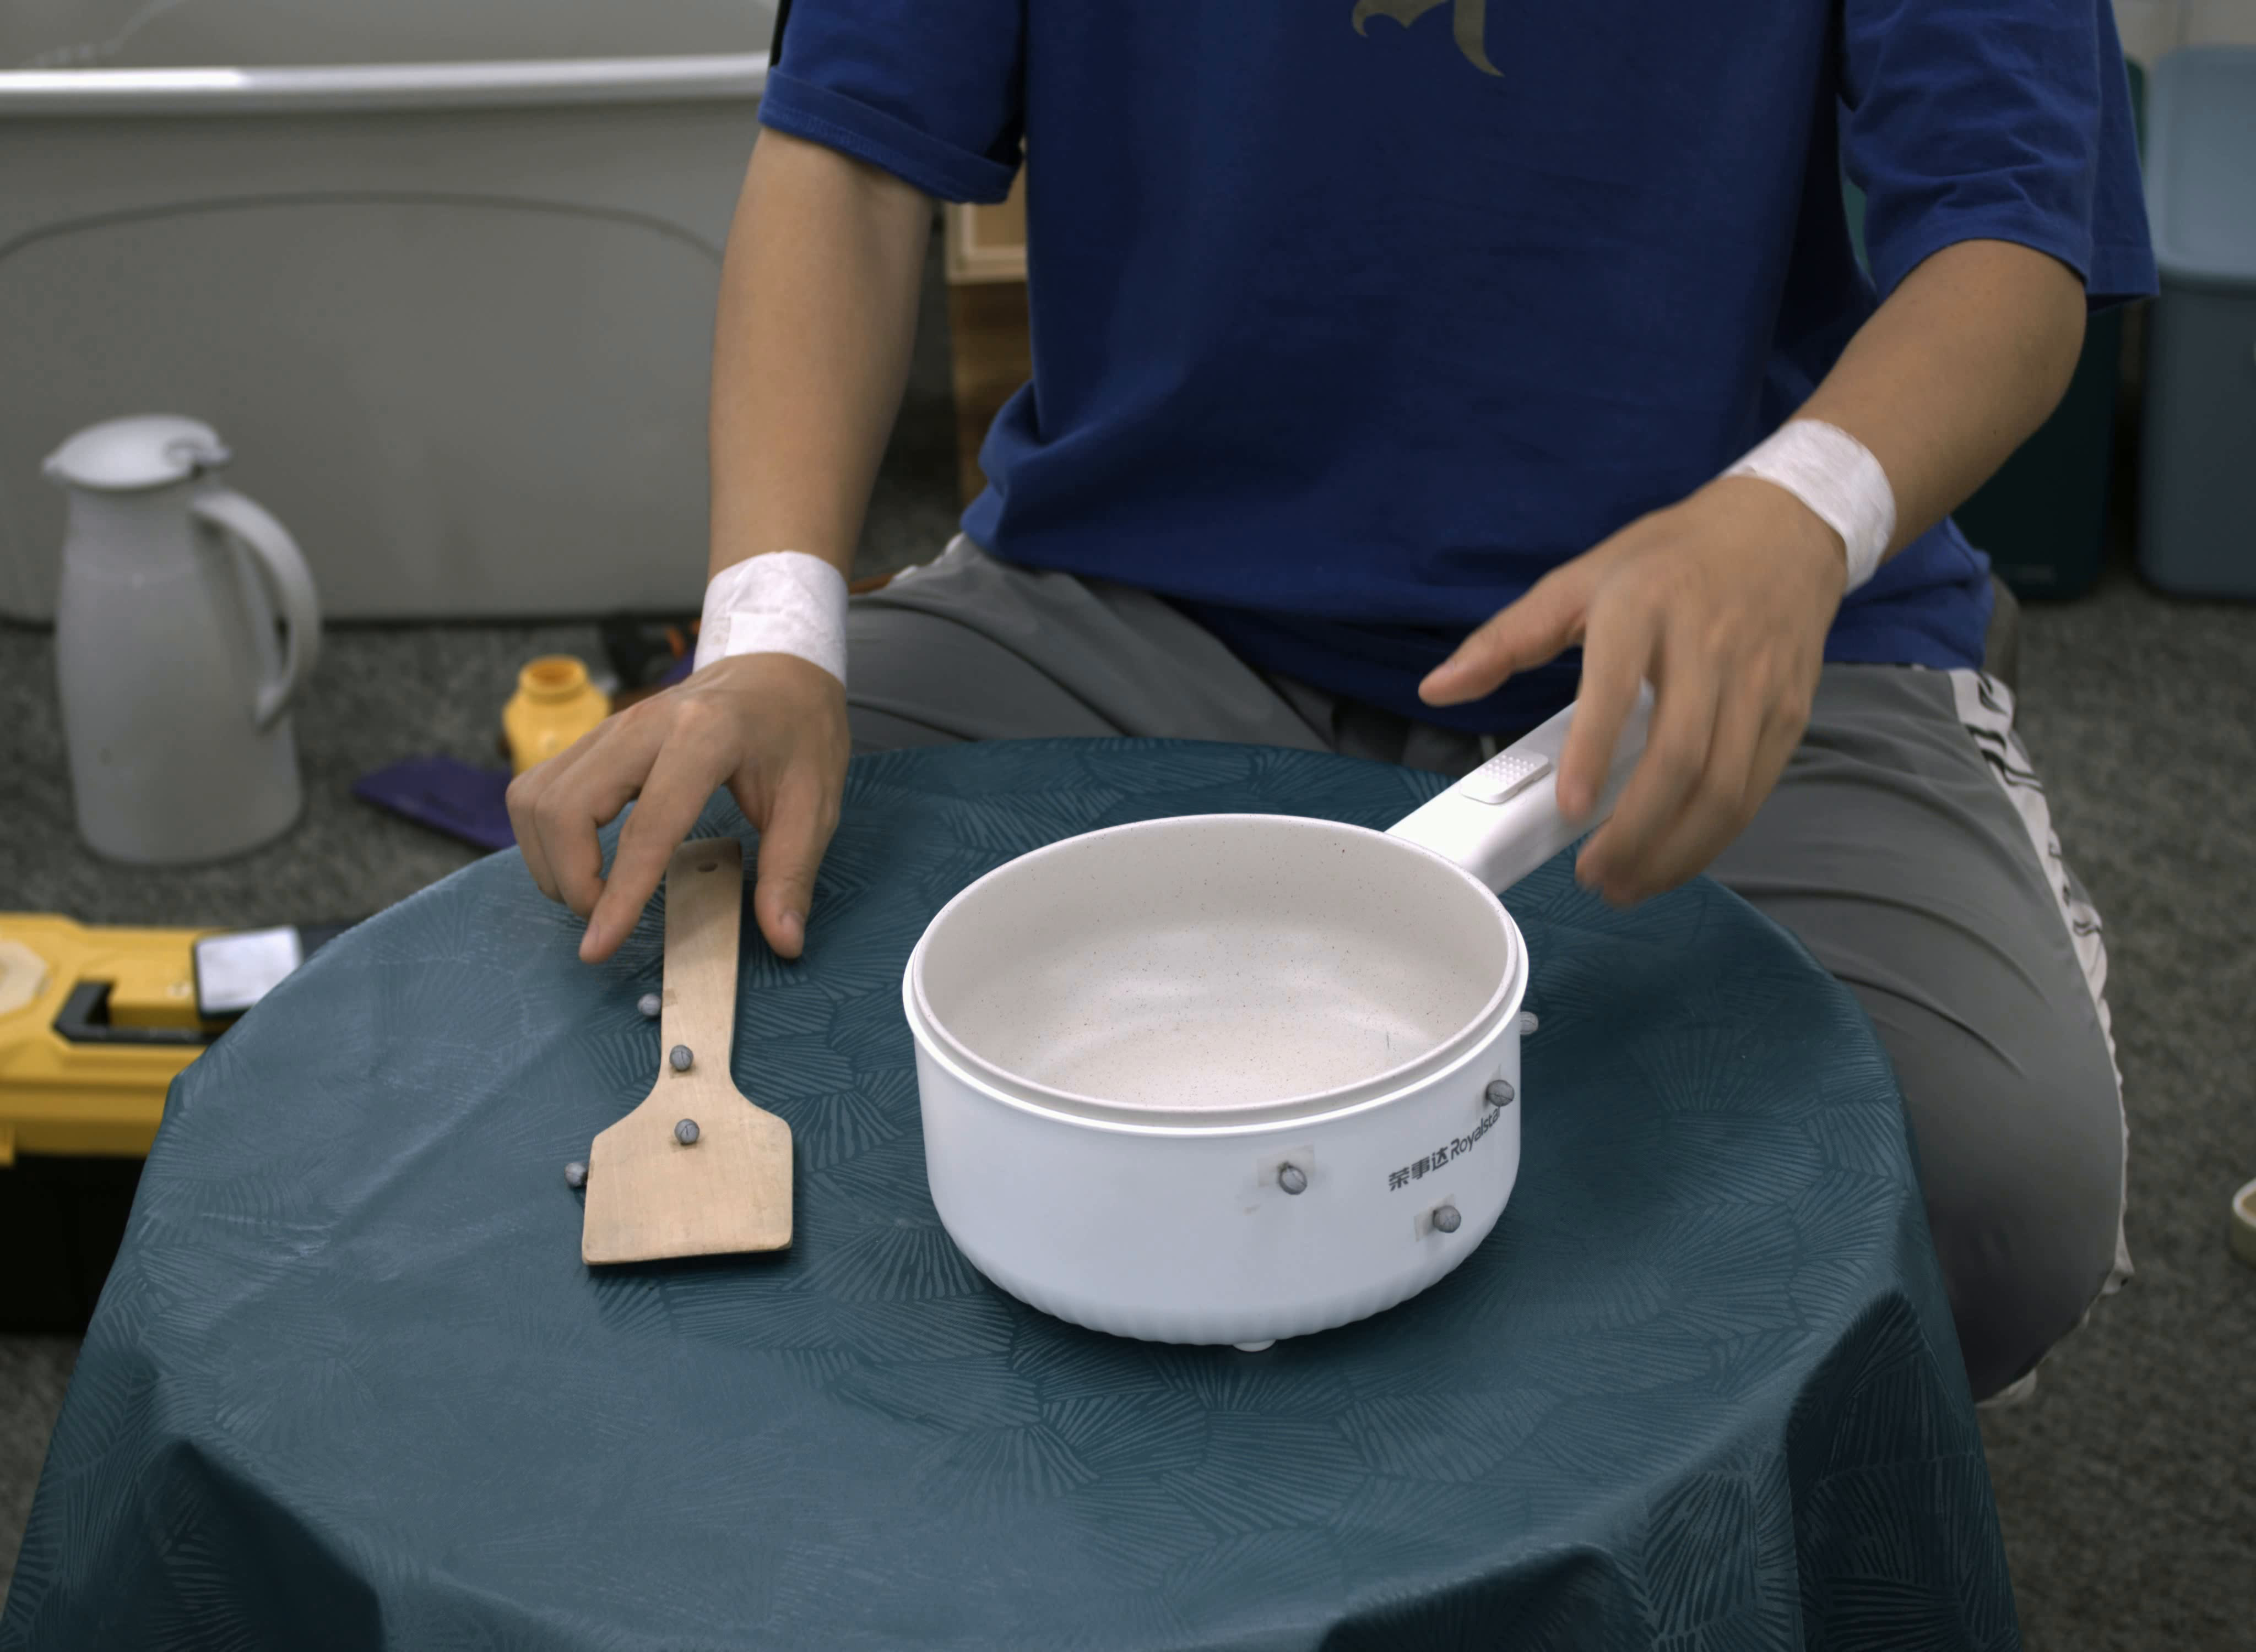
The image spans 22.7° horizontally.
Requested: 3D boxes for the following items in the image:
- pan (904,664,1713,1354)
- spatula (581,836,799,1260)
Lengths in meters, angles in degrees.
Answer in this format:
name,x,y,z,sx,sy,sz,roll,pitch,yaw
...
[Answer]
name,x,y,z,sx,sy,sz,roll,pitch,yaw
pan,0.079,0.057,1.874,0.200,0.101,0.360,16,33,36
spatula,-0.150,0.074,1.958,0.072,0.010,0.297,-4,27,-1
